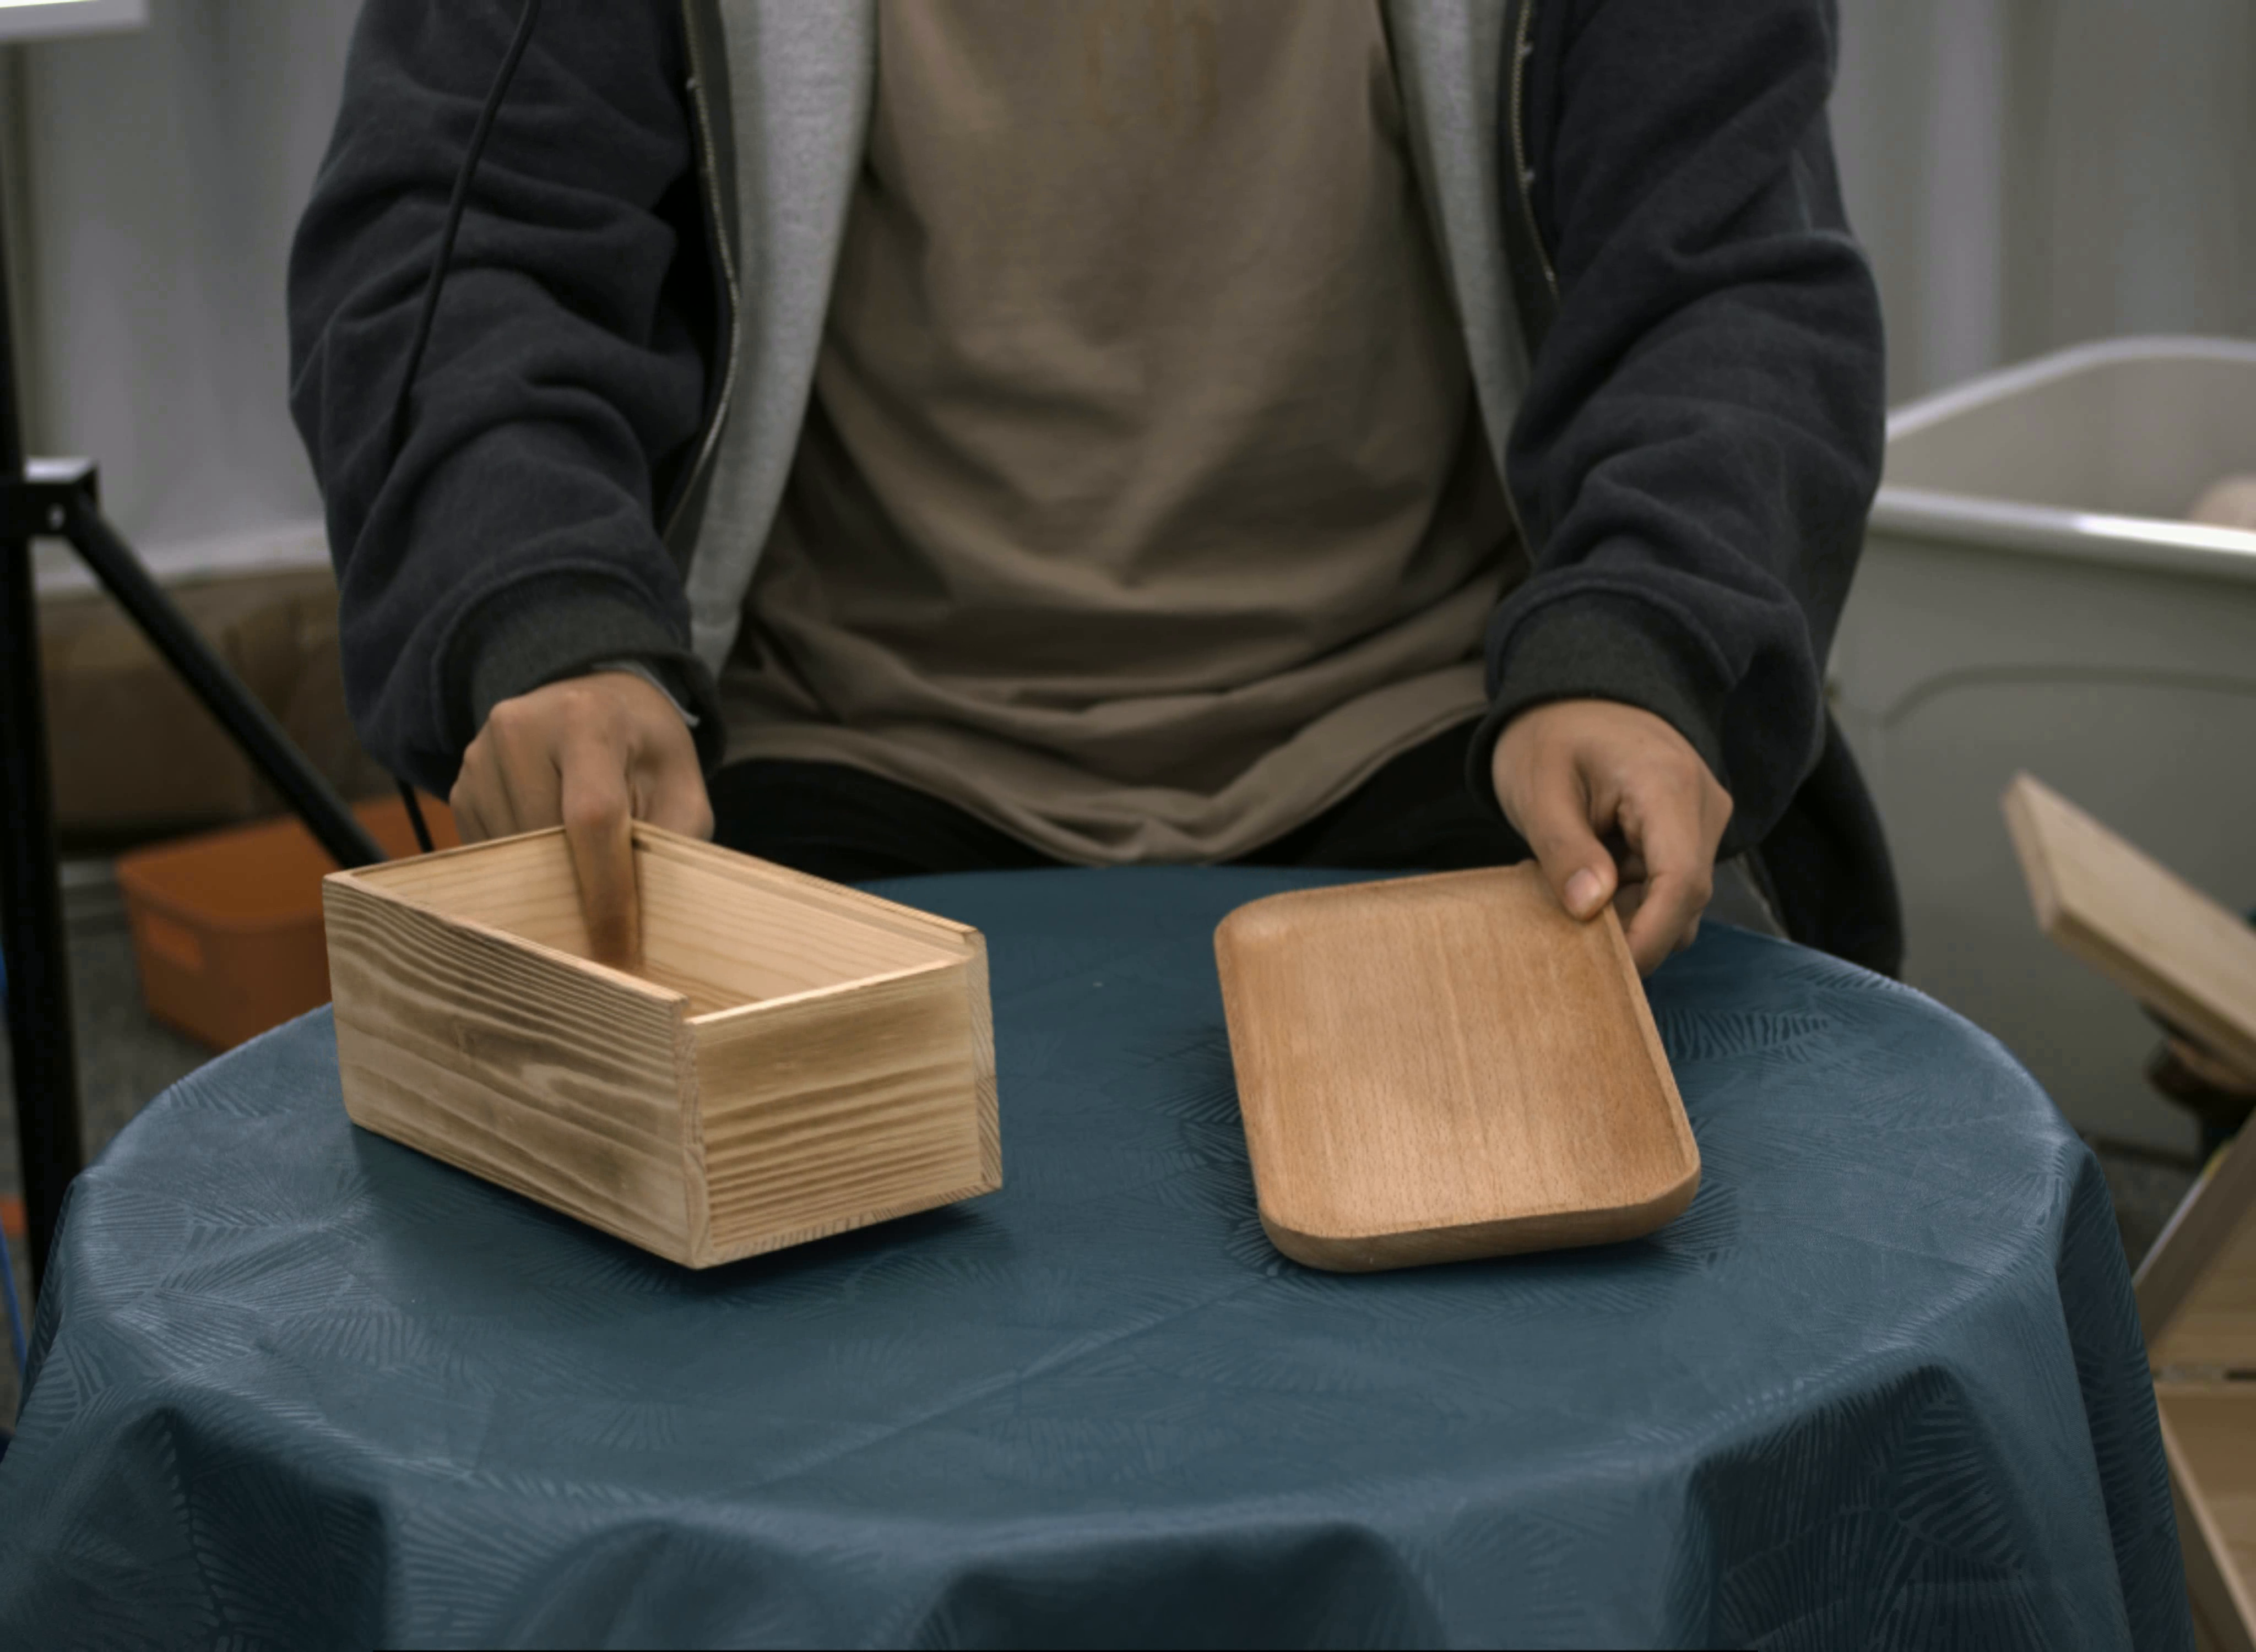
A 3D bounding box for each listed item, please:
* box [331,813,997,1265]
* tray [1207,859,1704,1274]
[{"bbox_3d":[-0.141,0.060,1.591,0.105,0.080,0.216,-12,15,-32],"label":"box"},{"bbox_3d":[0.094,0.069,1.591,0.130,0.023,0.252,-4,22,-1],"label":"tray"}]
